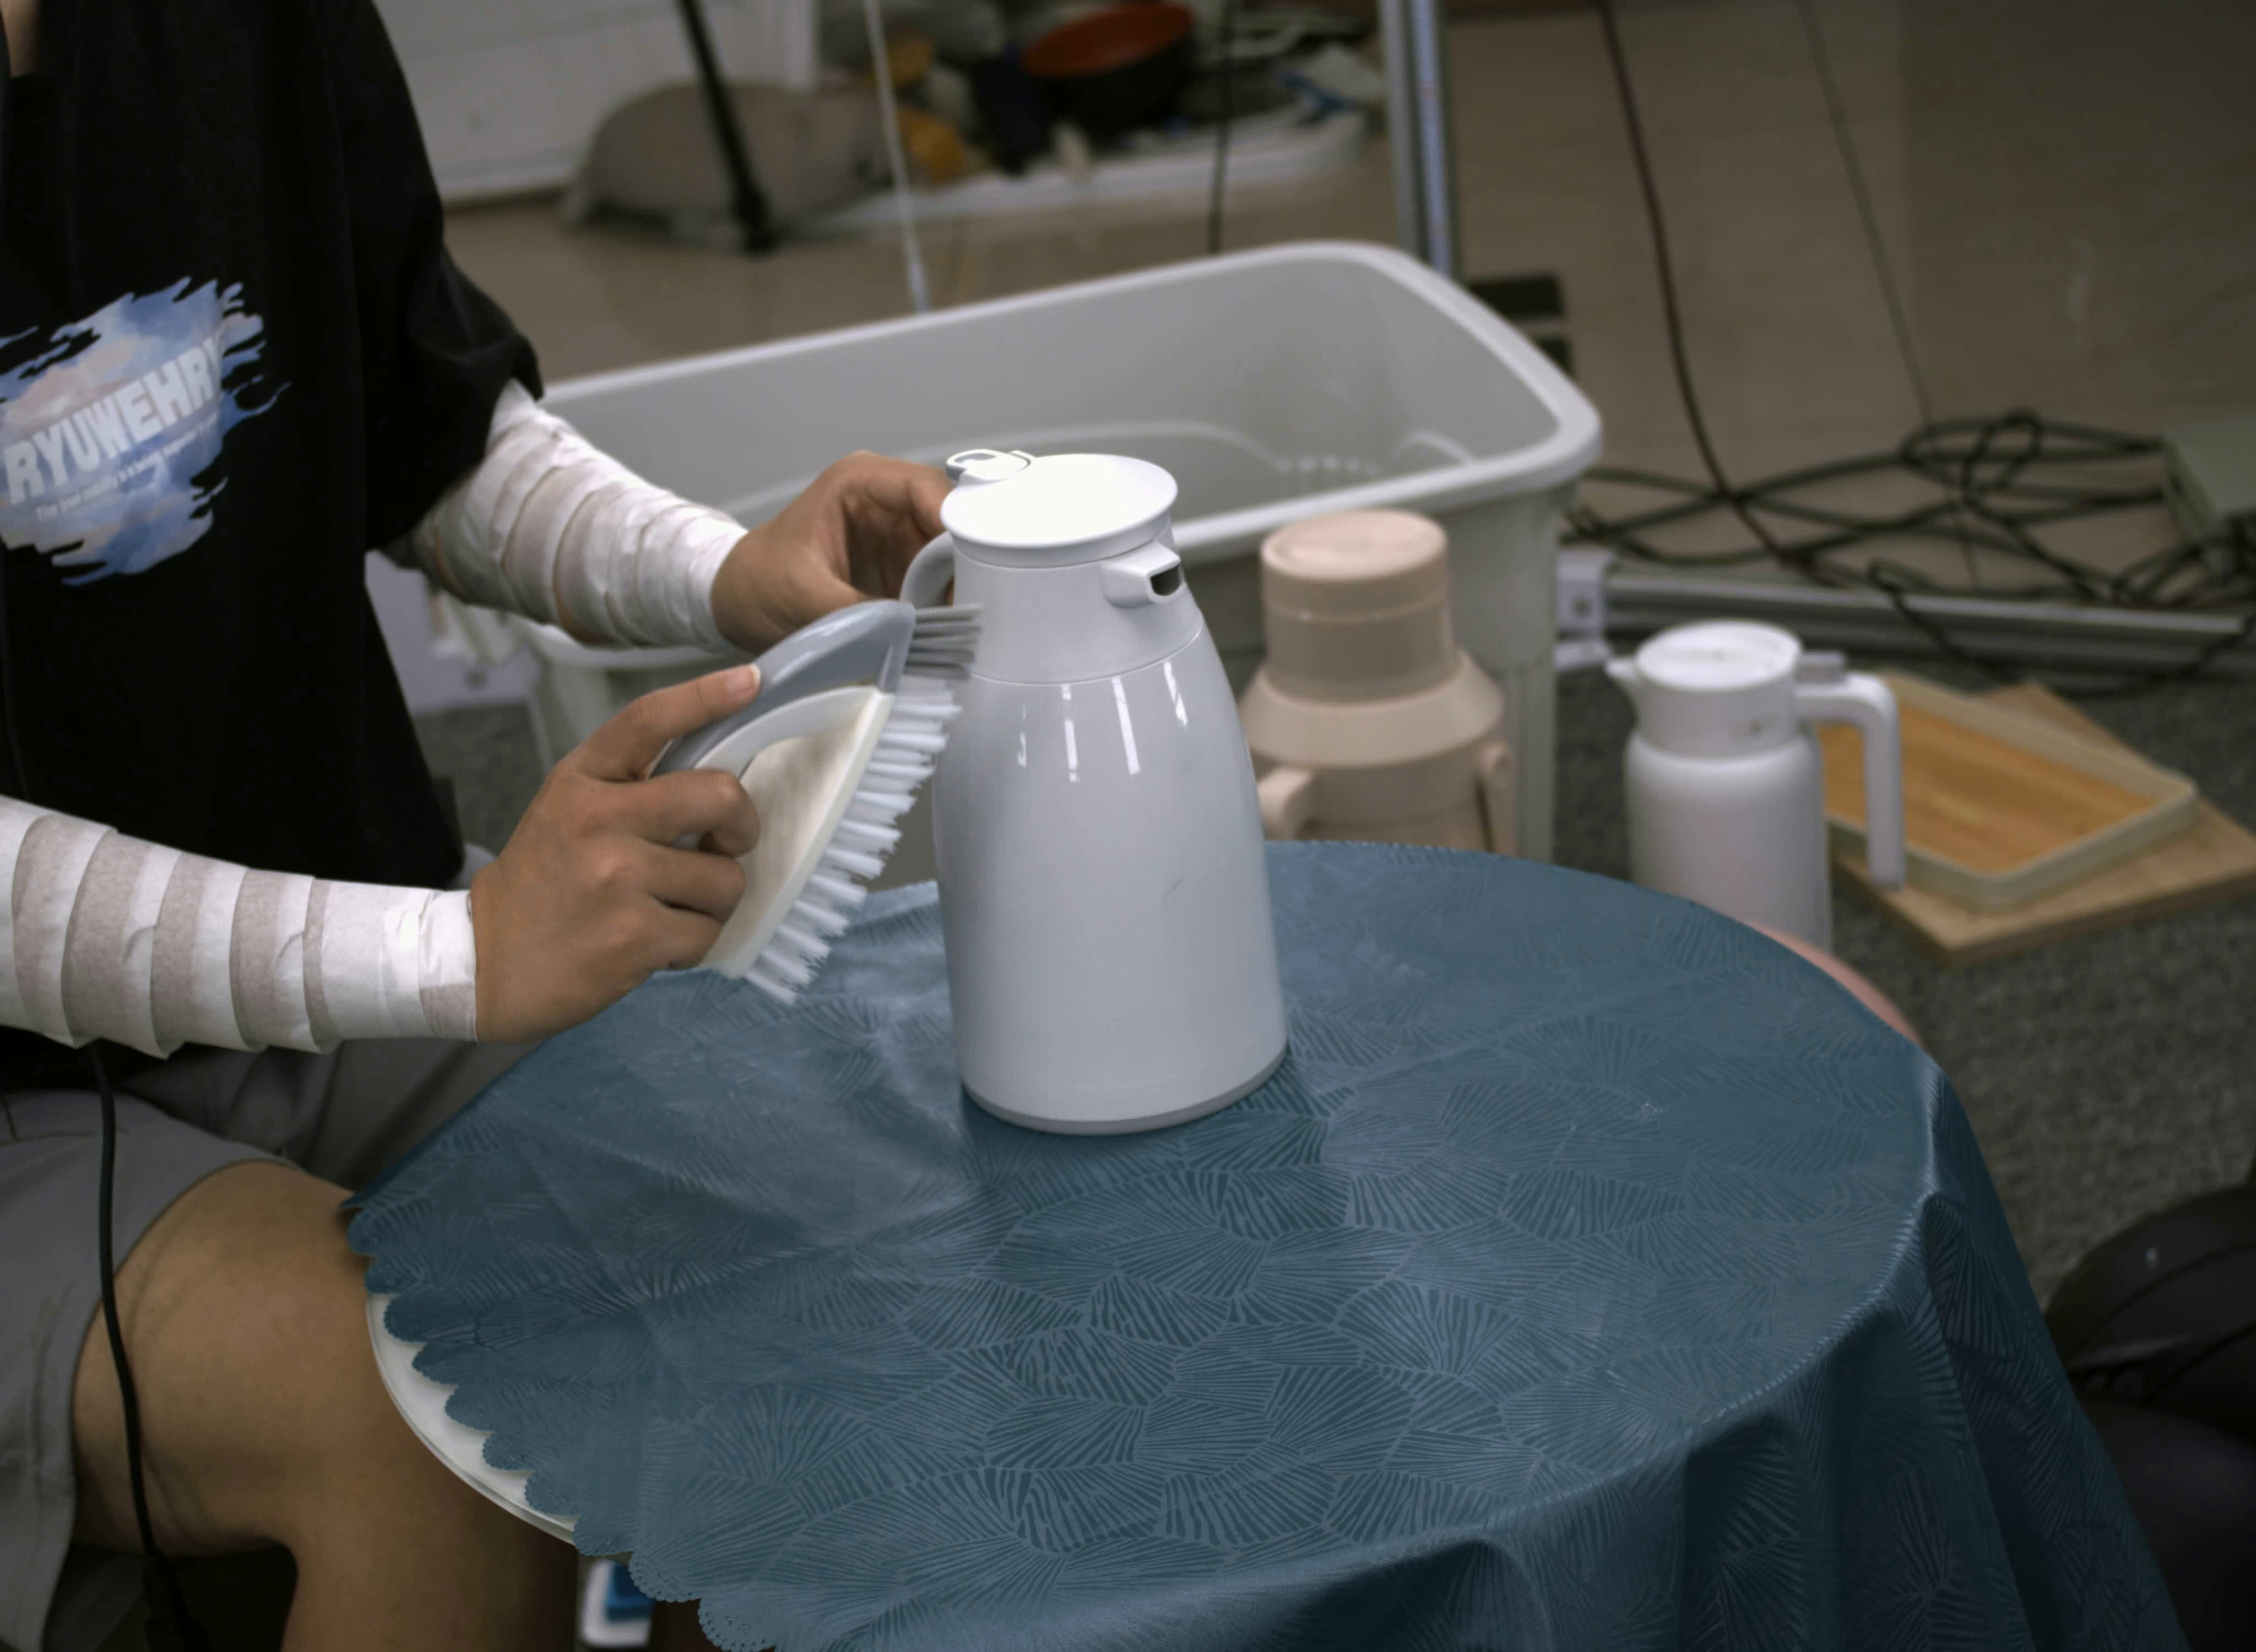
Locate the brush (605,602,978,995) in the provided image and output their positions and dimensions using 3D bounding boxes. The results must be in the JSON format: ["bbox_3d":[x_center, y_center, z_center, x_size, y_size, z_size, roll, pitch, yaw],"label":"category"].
[{"bbox_3d":[-0.131,-0.021,2.097,0.094,0.177,0.060,13,34,-40],"label":"brush"}]

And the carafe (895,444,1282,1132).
[{"bbox_3d":[-0.029,-0.025,2.208,0.131,0.252,0.166,-26,31,-34],"label":"carafe"}]
